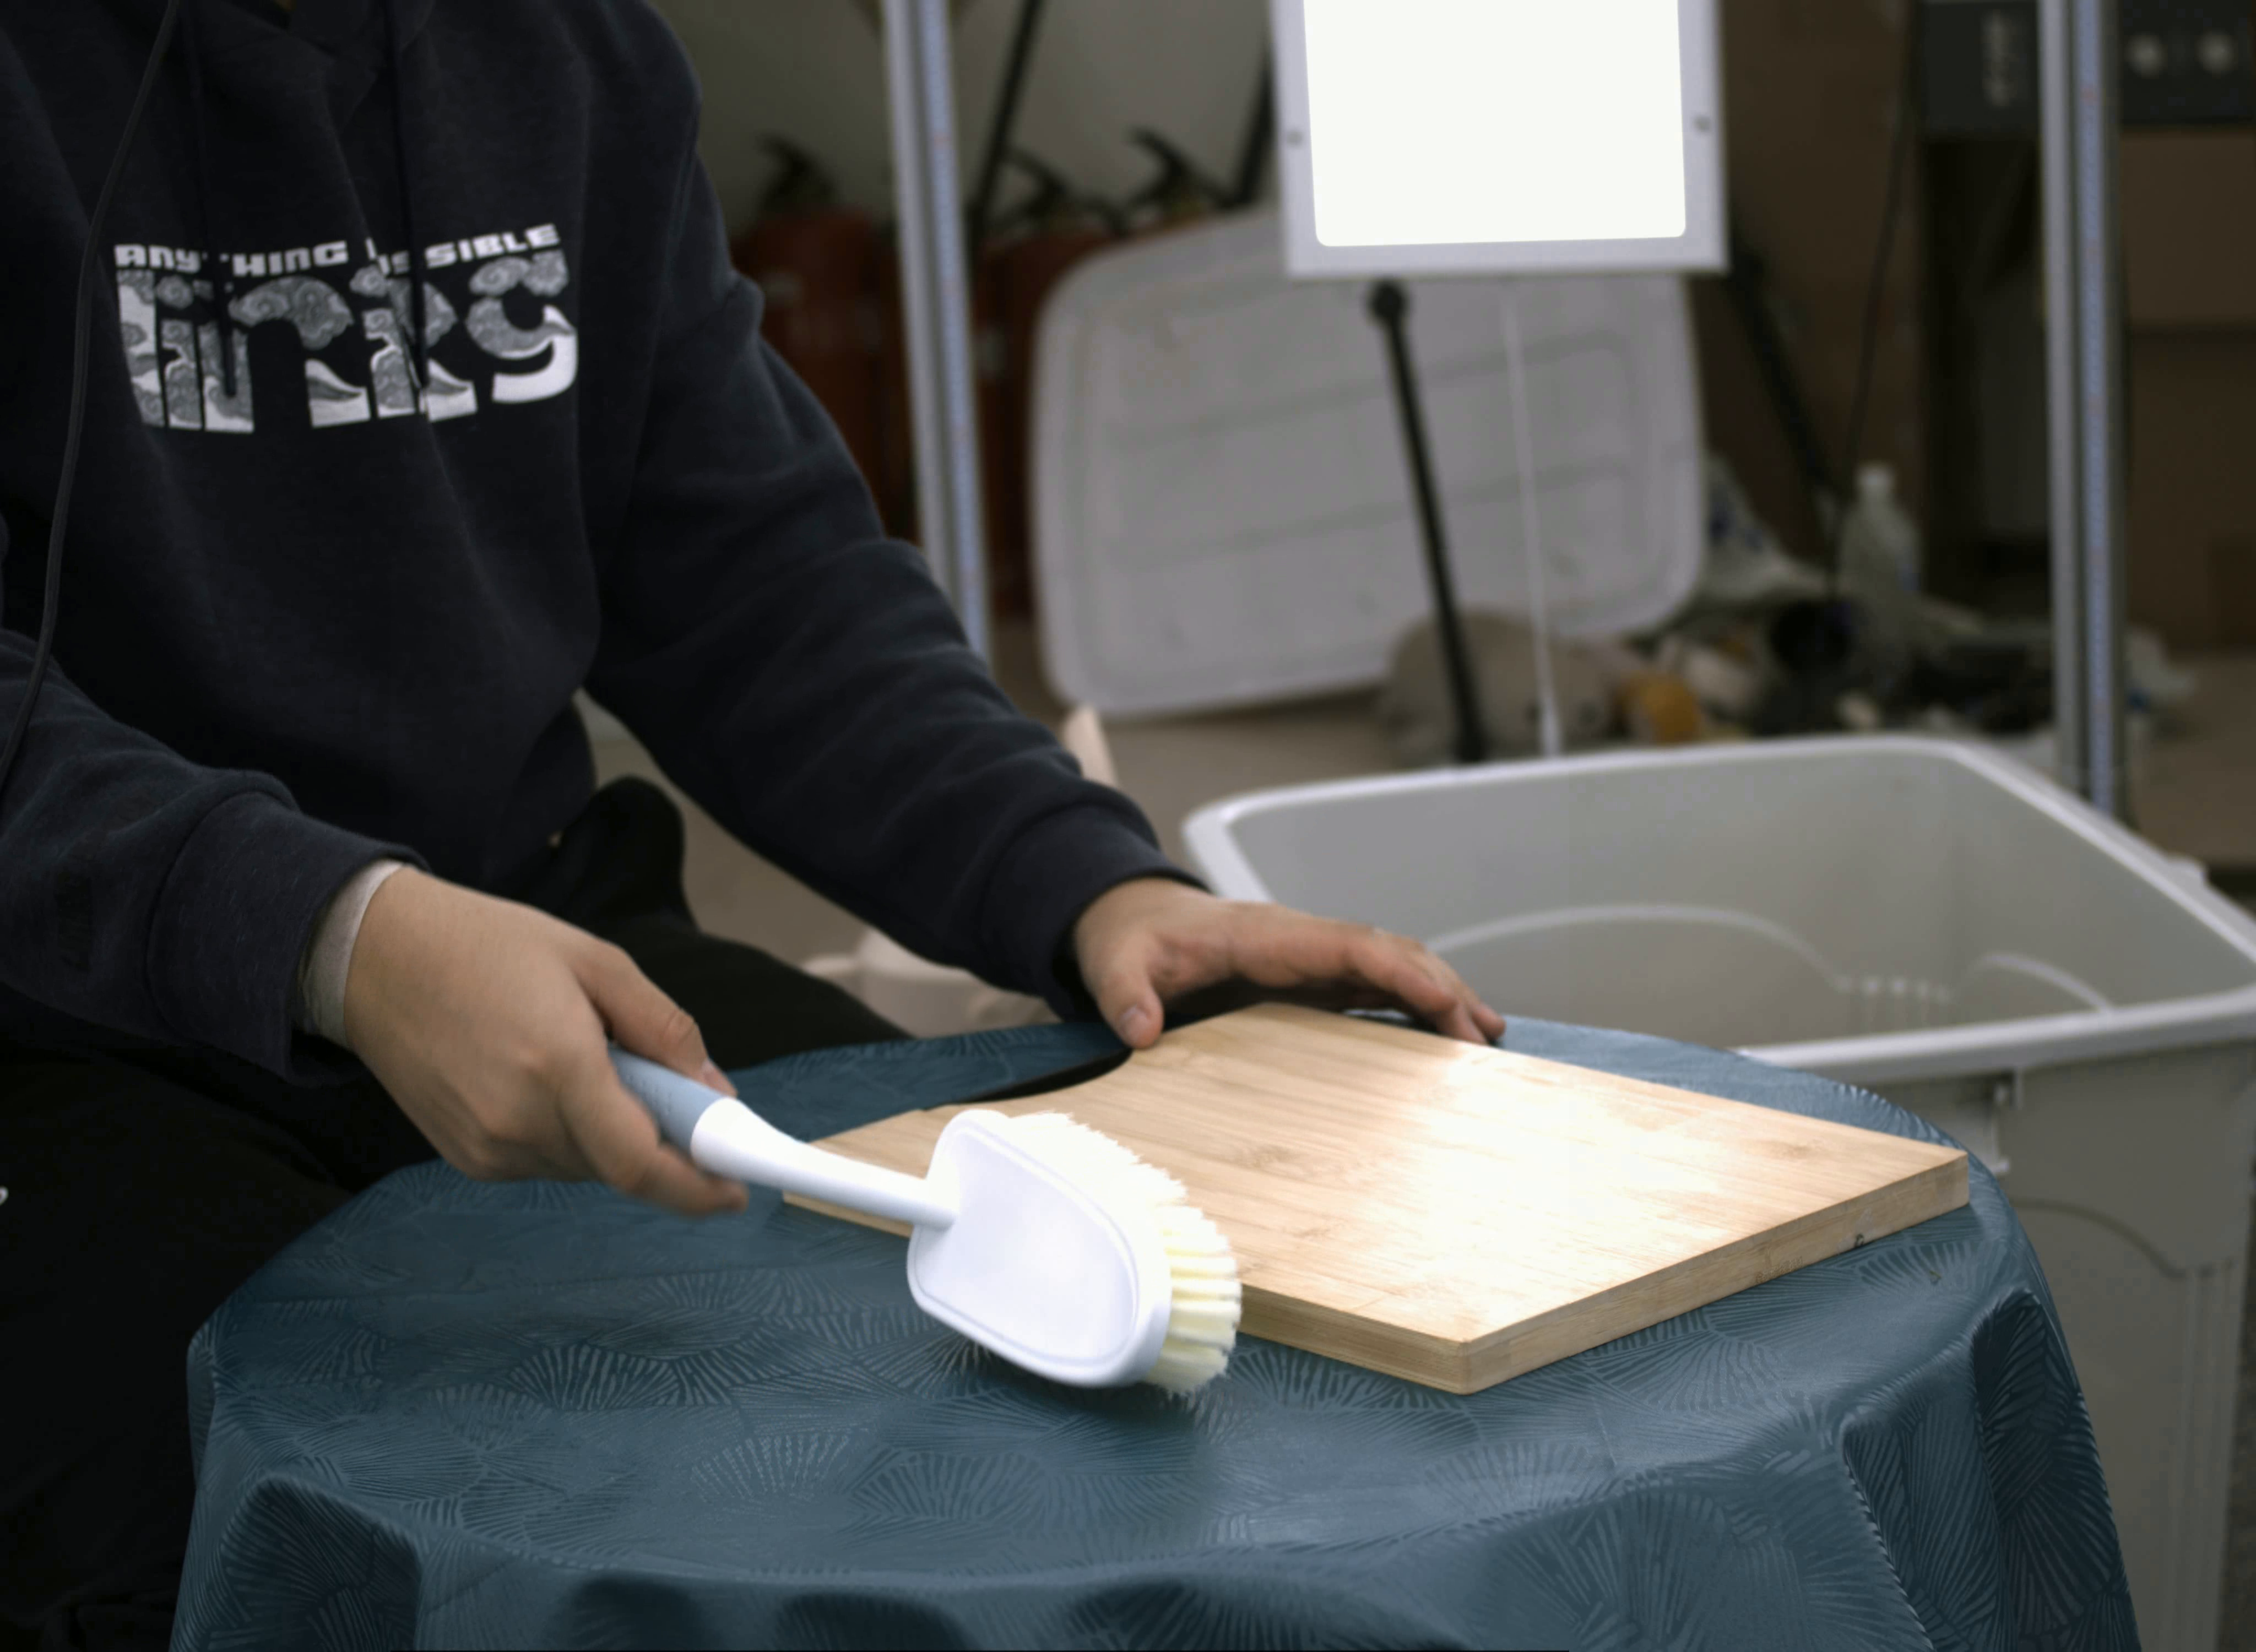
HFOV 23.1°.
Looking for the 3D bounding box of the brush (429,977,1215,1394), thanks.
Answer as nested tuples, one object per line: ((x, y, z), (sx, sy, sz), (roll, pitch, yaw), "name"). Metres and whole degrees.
((-0.091, 0.102, 1.766), (0.331, 0.083, 0.082), (22, 70, 38), "brush")

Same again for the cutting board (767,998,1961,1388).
((0.075, 0.119, 1.869), (0.244, 0.023, 0.356), (-15, 17, -39), "cutting board")
